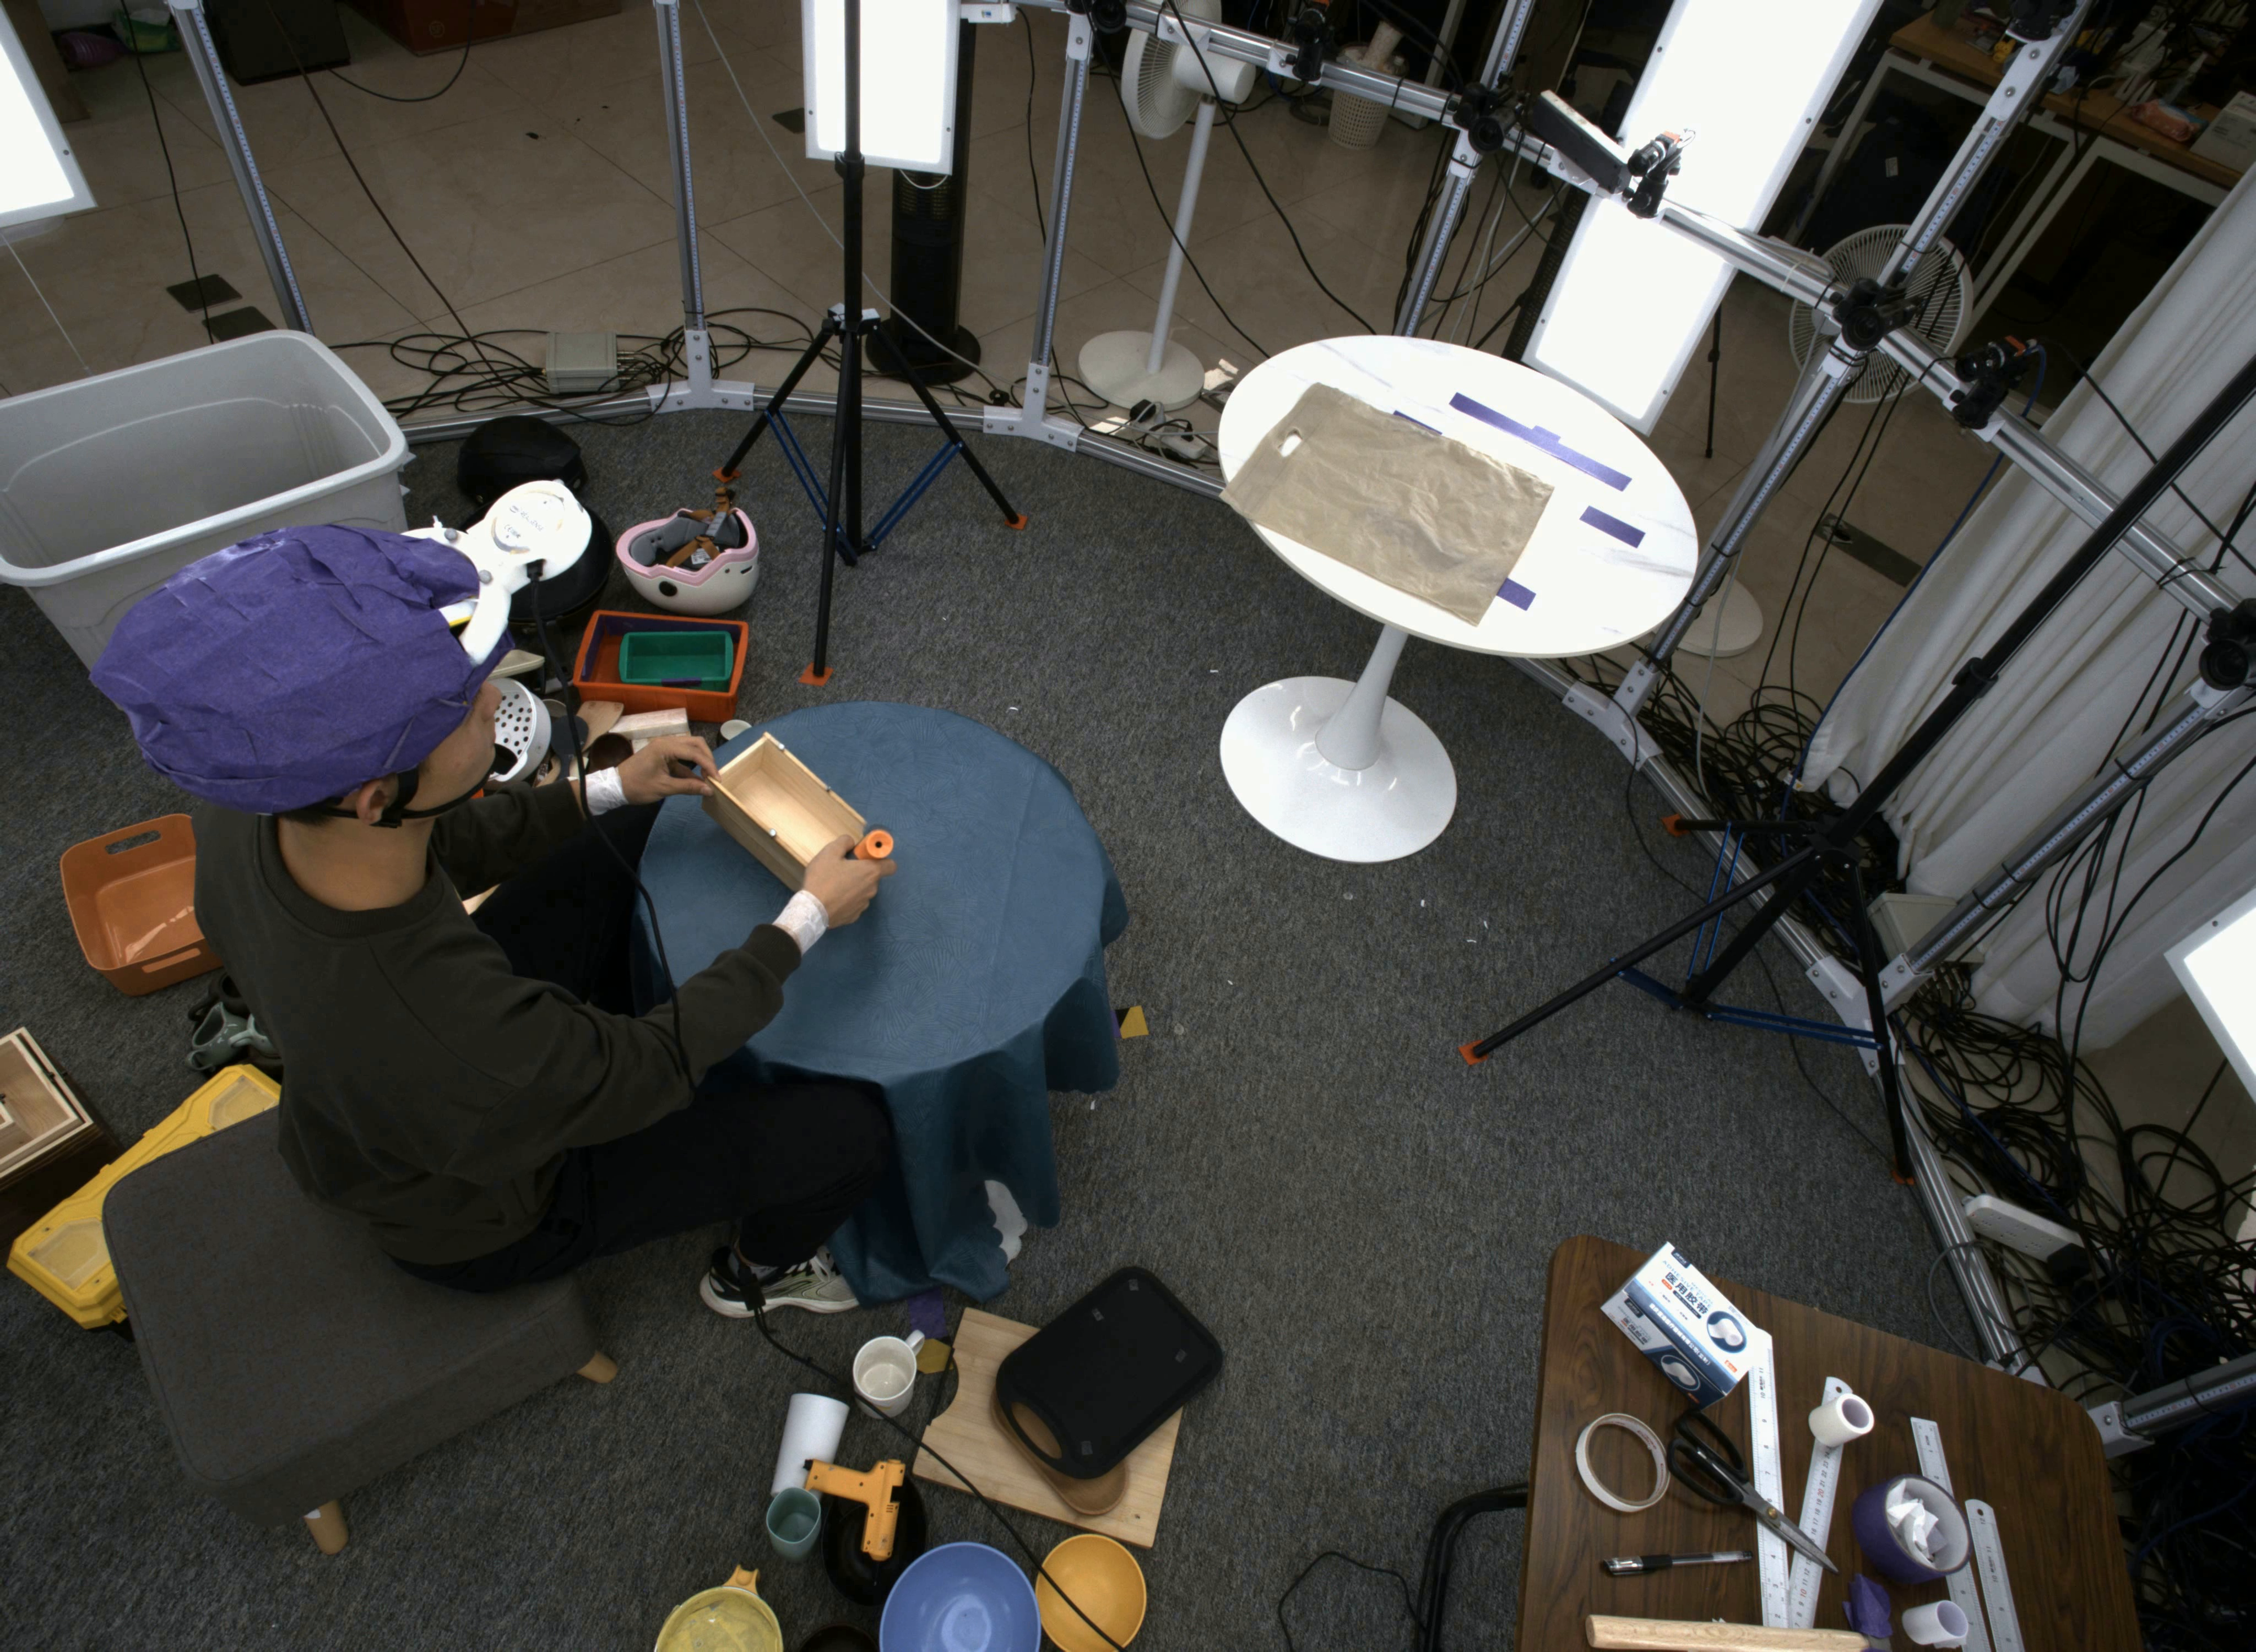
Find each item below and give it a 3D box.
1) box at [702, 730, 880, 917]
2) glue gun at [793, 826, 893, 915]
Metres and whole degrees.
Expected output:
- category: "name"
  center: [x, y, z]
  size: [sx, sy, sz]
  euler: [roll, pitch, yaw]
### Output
- category: "box"
  center: [-0.426, -0.004, 1.644]
  size: [0.210, 0.080, 0.107]
  euler: [41, 55, 2]
- category: "glue gun"
  center: [-0.334, 0.044, 1.561]
  size: [0.140, 0.116, 0.041]
  euler: [-42, 100, -23]
